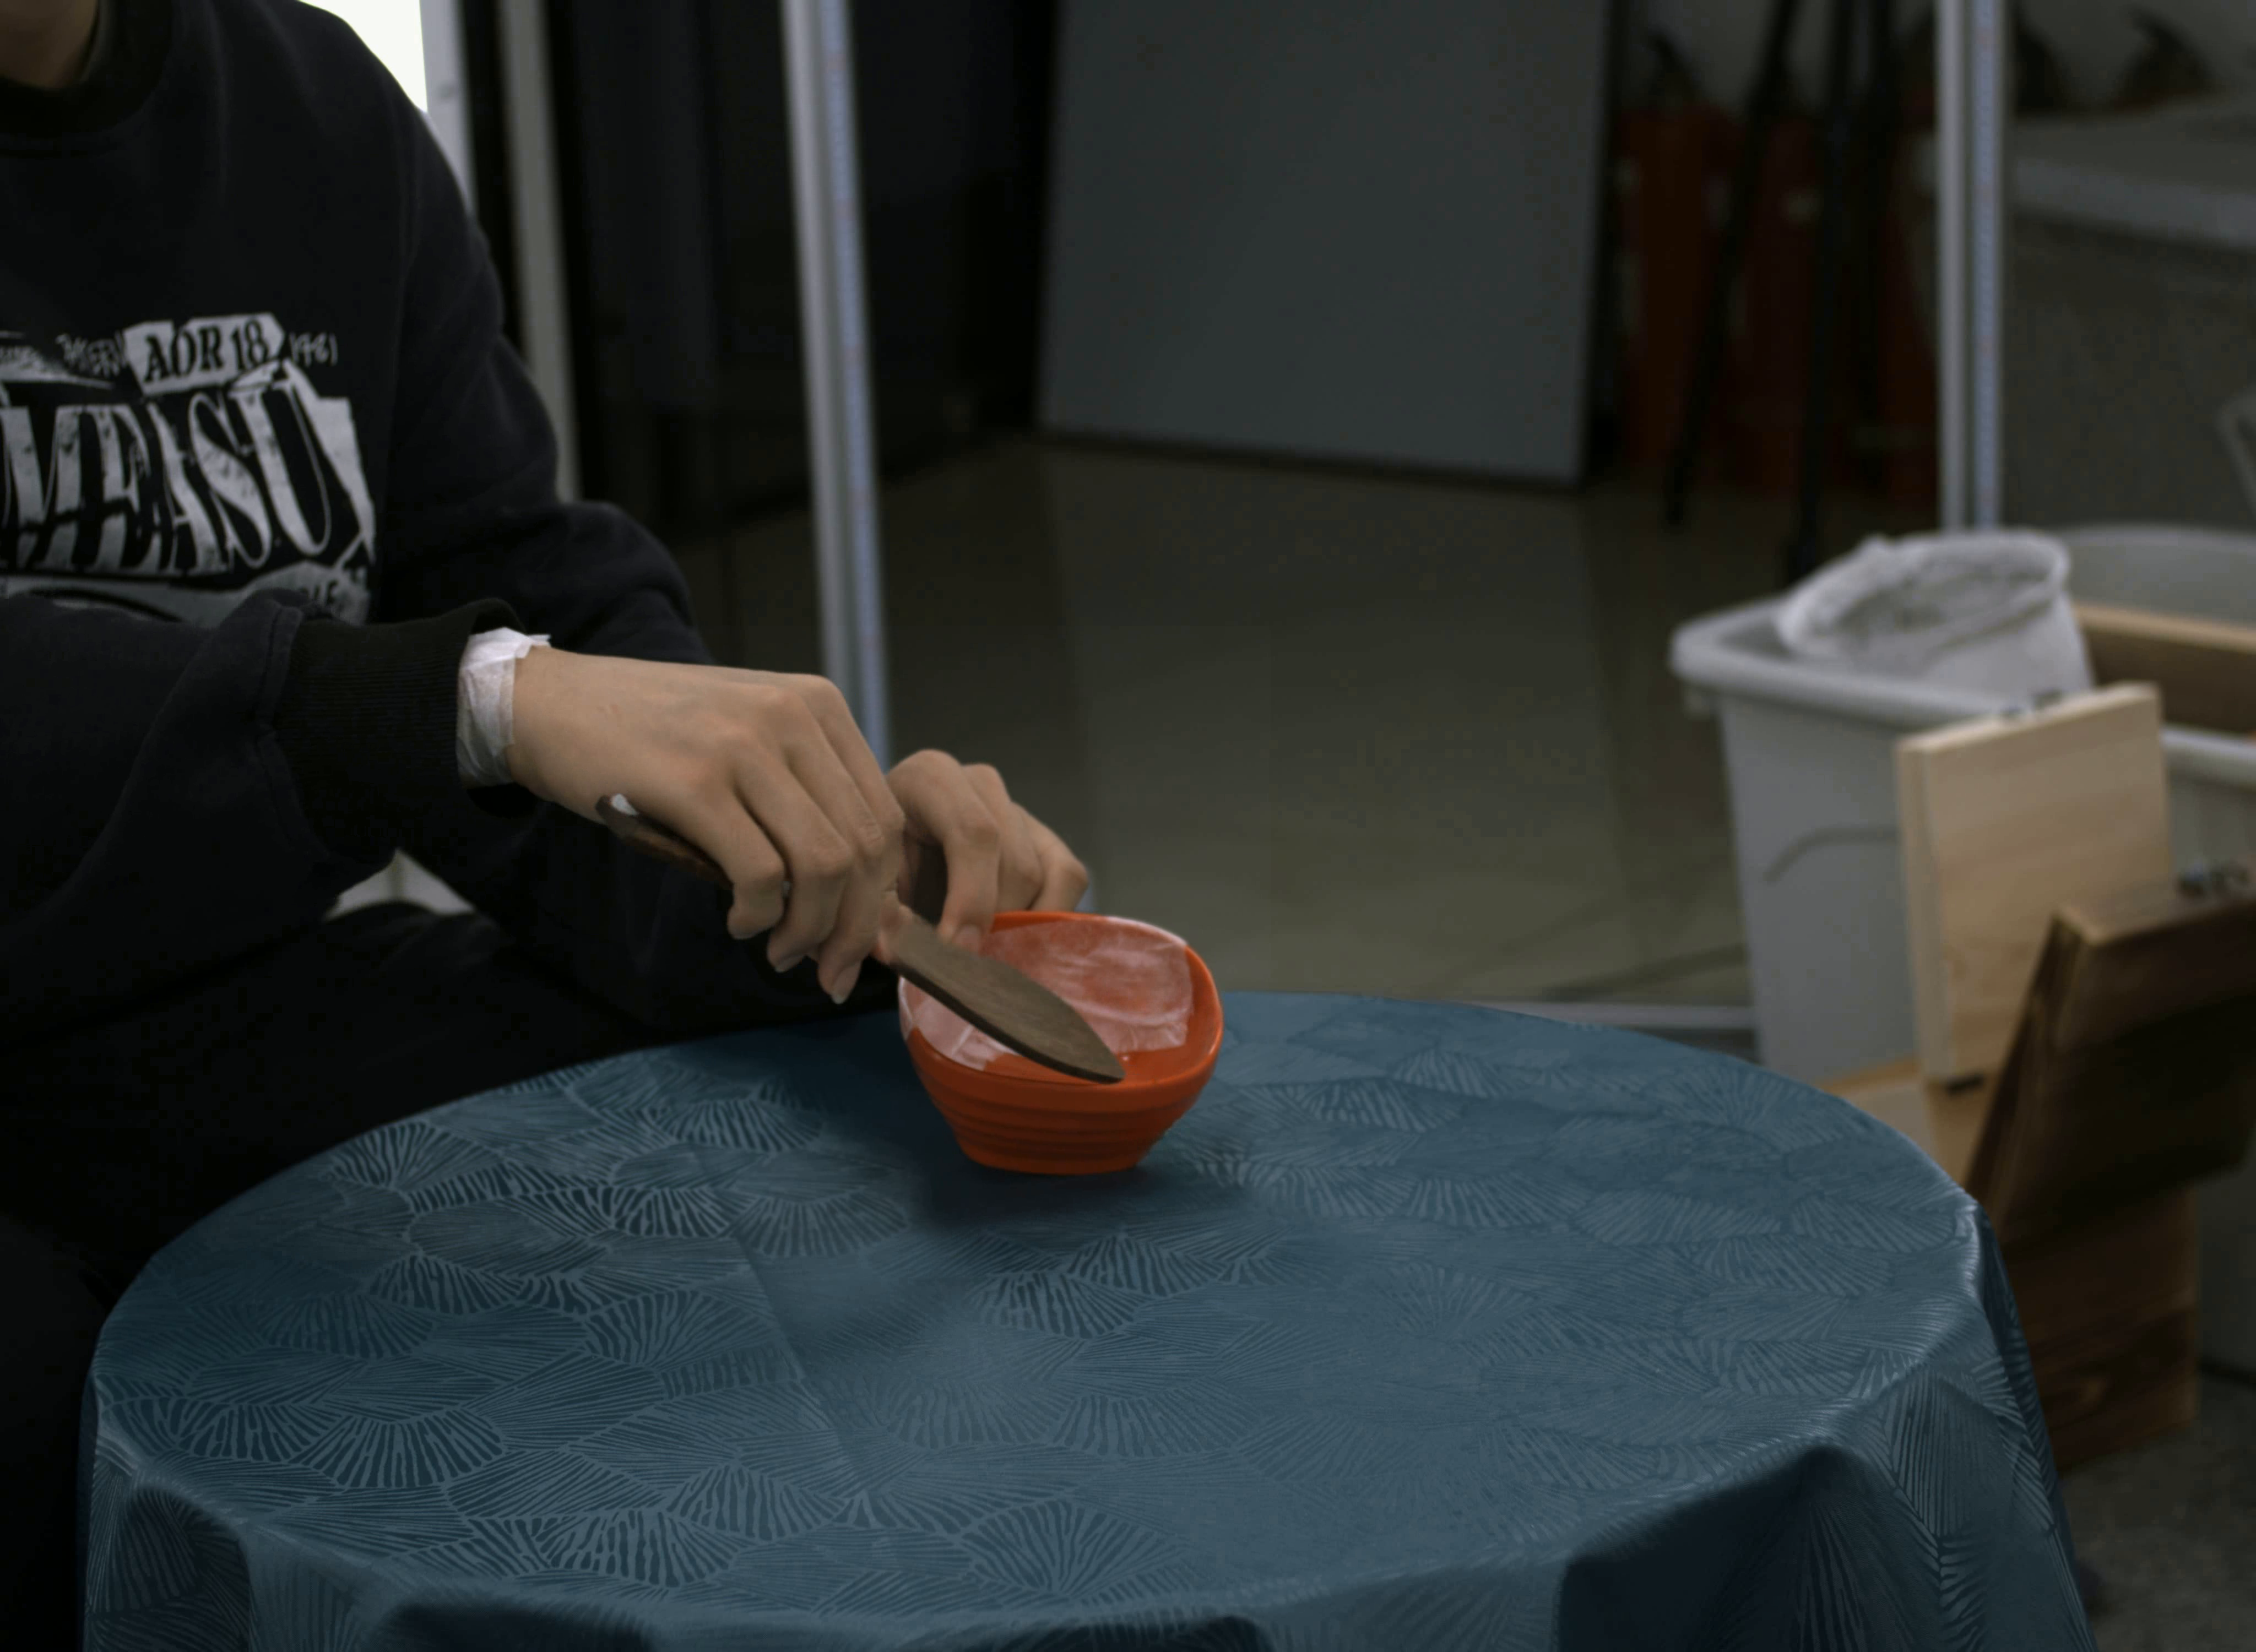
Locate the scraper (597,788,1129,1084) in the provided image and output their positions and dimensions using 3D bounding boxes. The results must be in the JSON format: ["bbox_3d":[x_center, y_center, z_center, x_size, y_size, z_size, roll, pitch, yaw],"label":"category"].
[{"bbox_3d":[-0.086,0.033,1.720,0.207,0.011,0.077,29,8,-36],"label":"scraper"}]

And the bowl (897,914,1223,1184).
[{"bbox_3d":[-0.024,0.080,1.804,0.117,0.052,0.119,4,31,-3],"label":"bowl"}]
